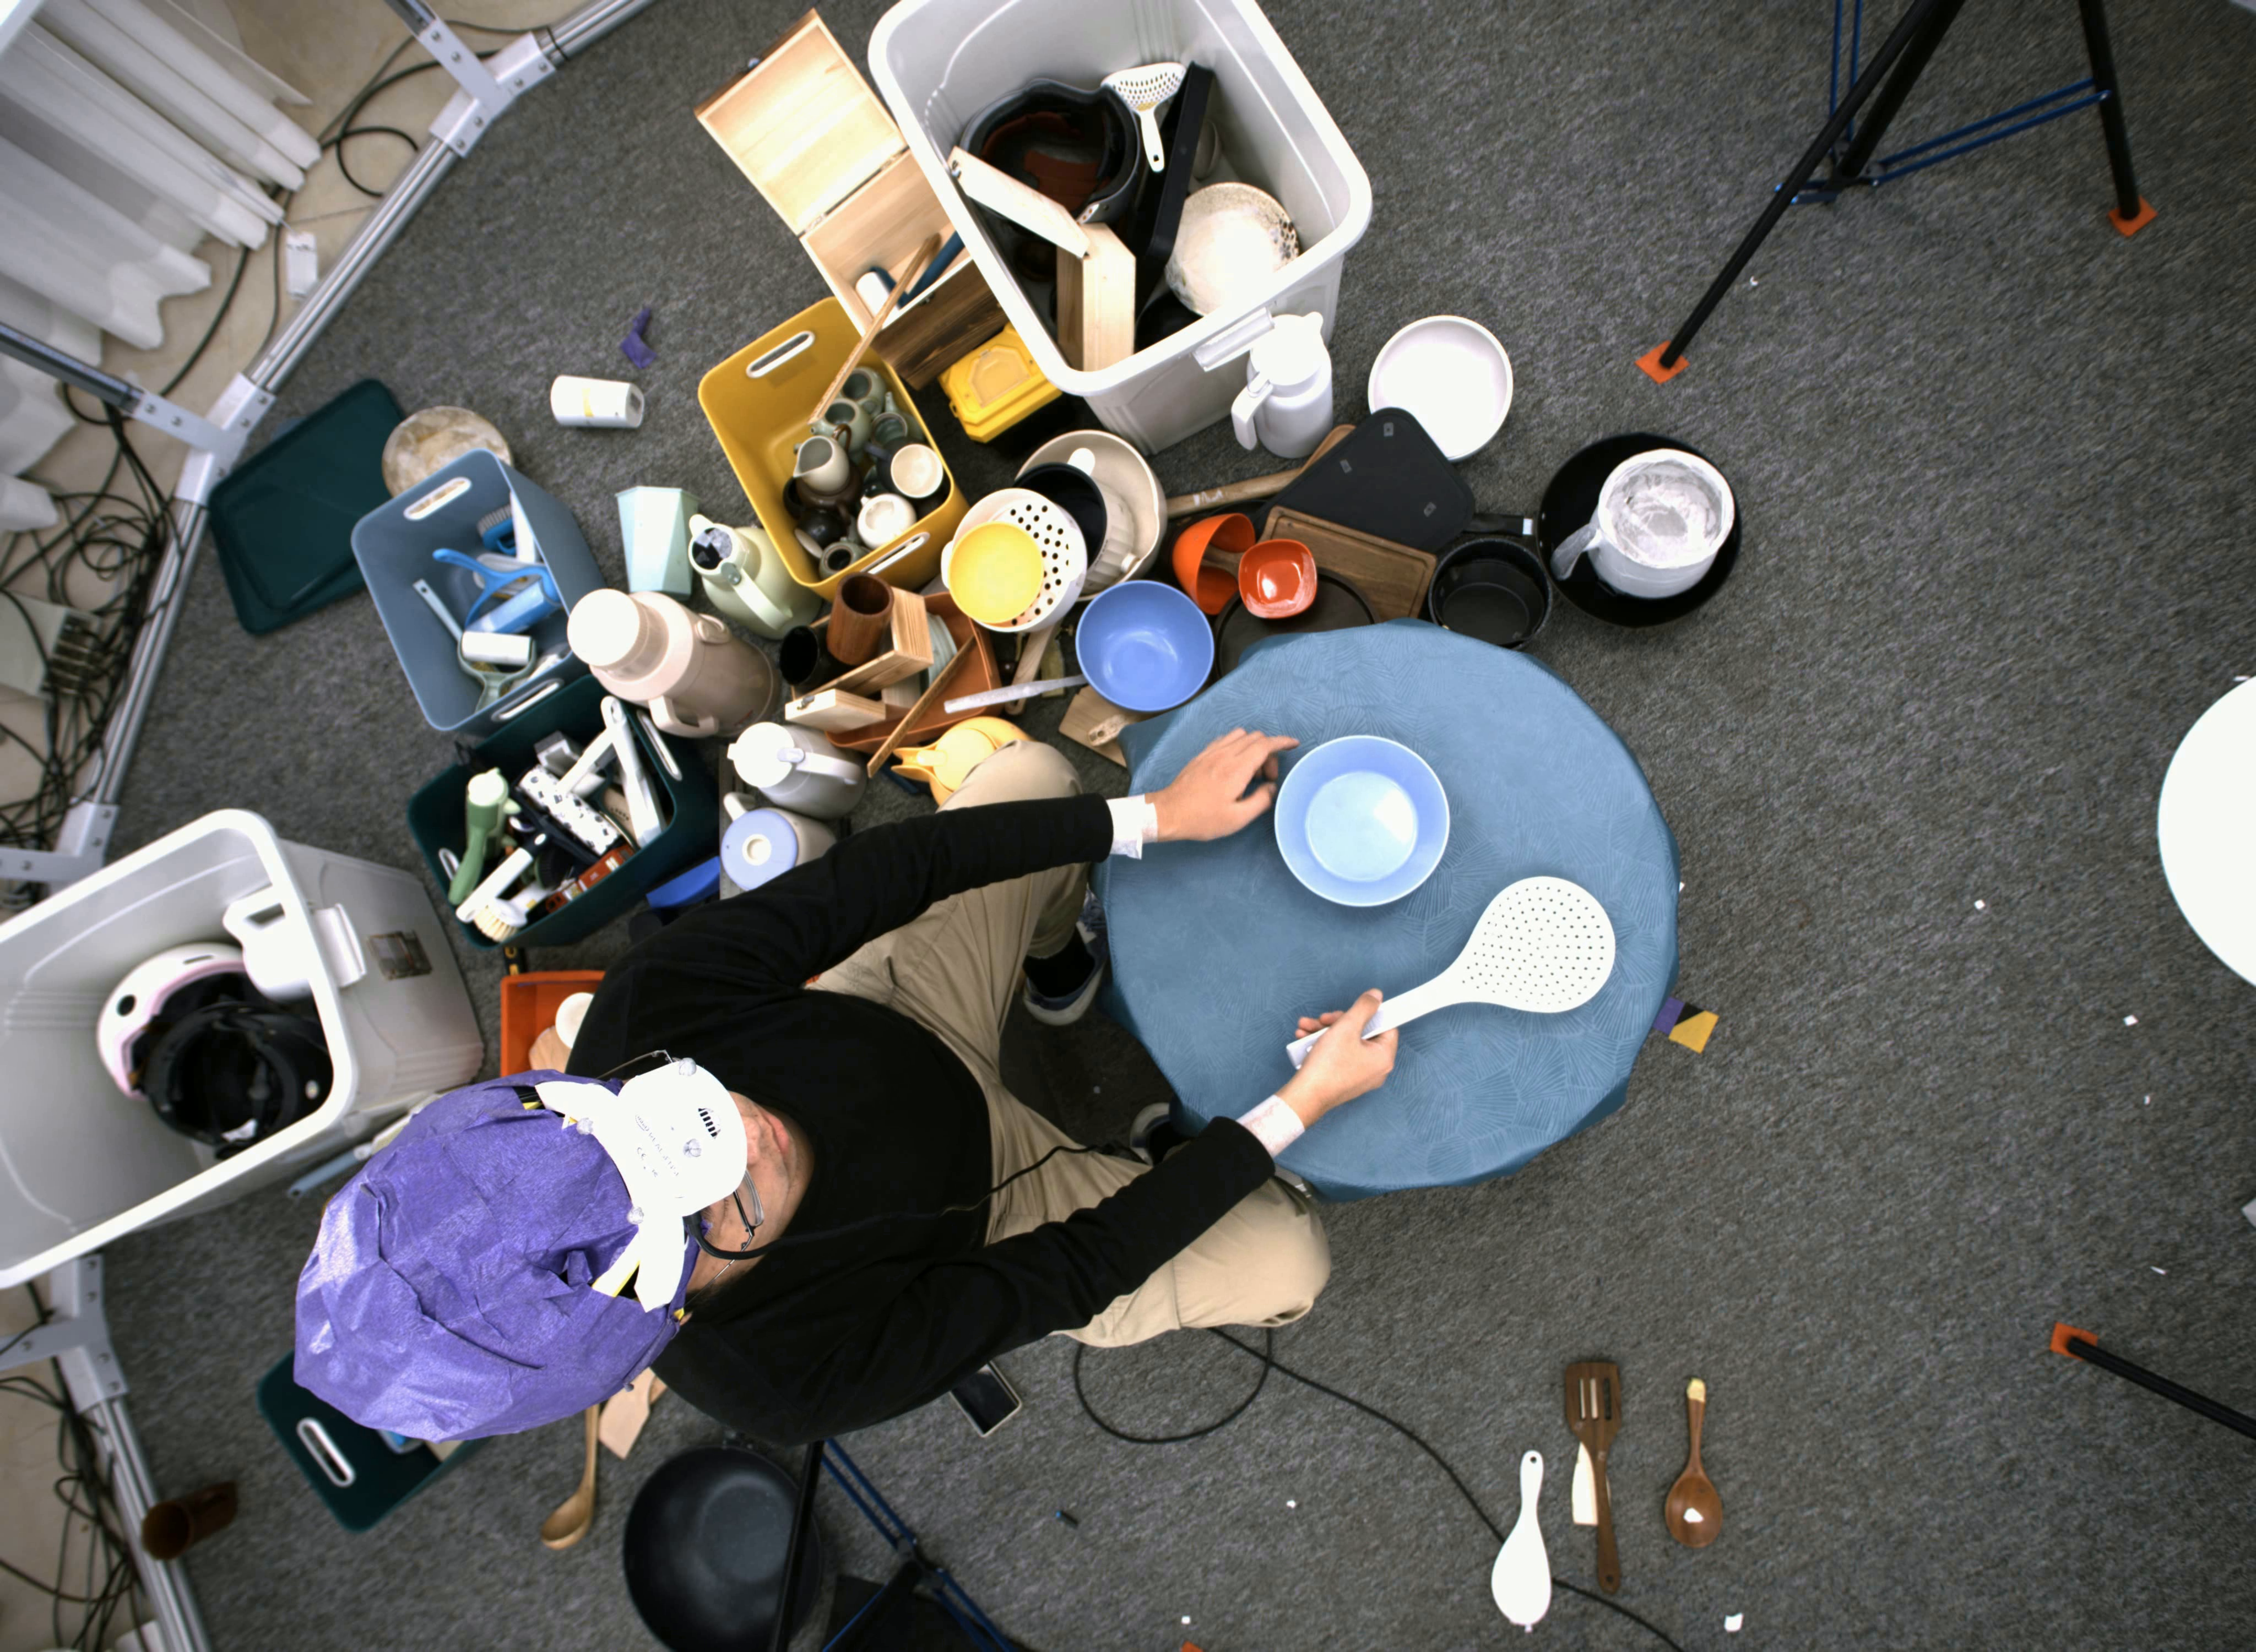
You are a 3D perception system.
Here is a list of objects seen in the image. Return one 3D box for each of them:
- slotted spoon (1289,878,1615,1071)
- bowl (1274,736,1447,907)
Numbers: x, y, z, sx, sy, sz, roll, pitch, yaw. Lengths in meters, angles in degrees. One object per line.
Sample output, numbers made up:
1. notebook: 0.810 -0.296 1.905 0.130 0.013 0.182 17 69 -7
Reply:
1. slotted spoon: 0.326 0.163 1.395 0.349 0.046 0.135 -24 82 -4
2. bowl: 0.241 -0.004 1.434 0.177 0.070 0.175 -1 87 11
